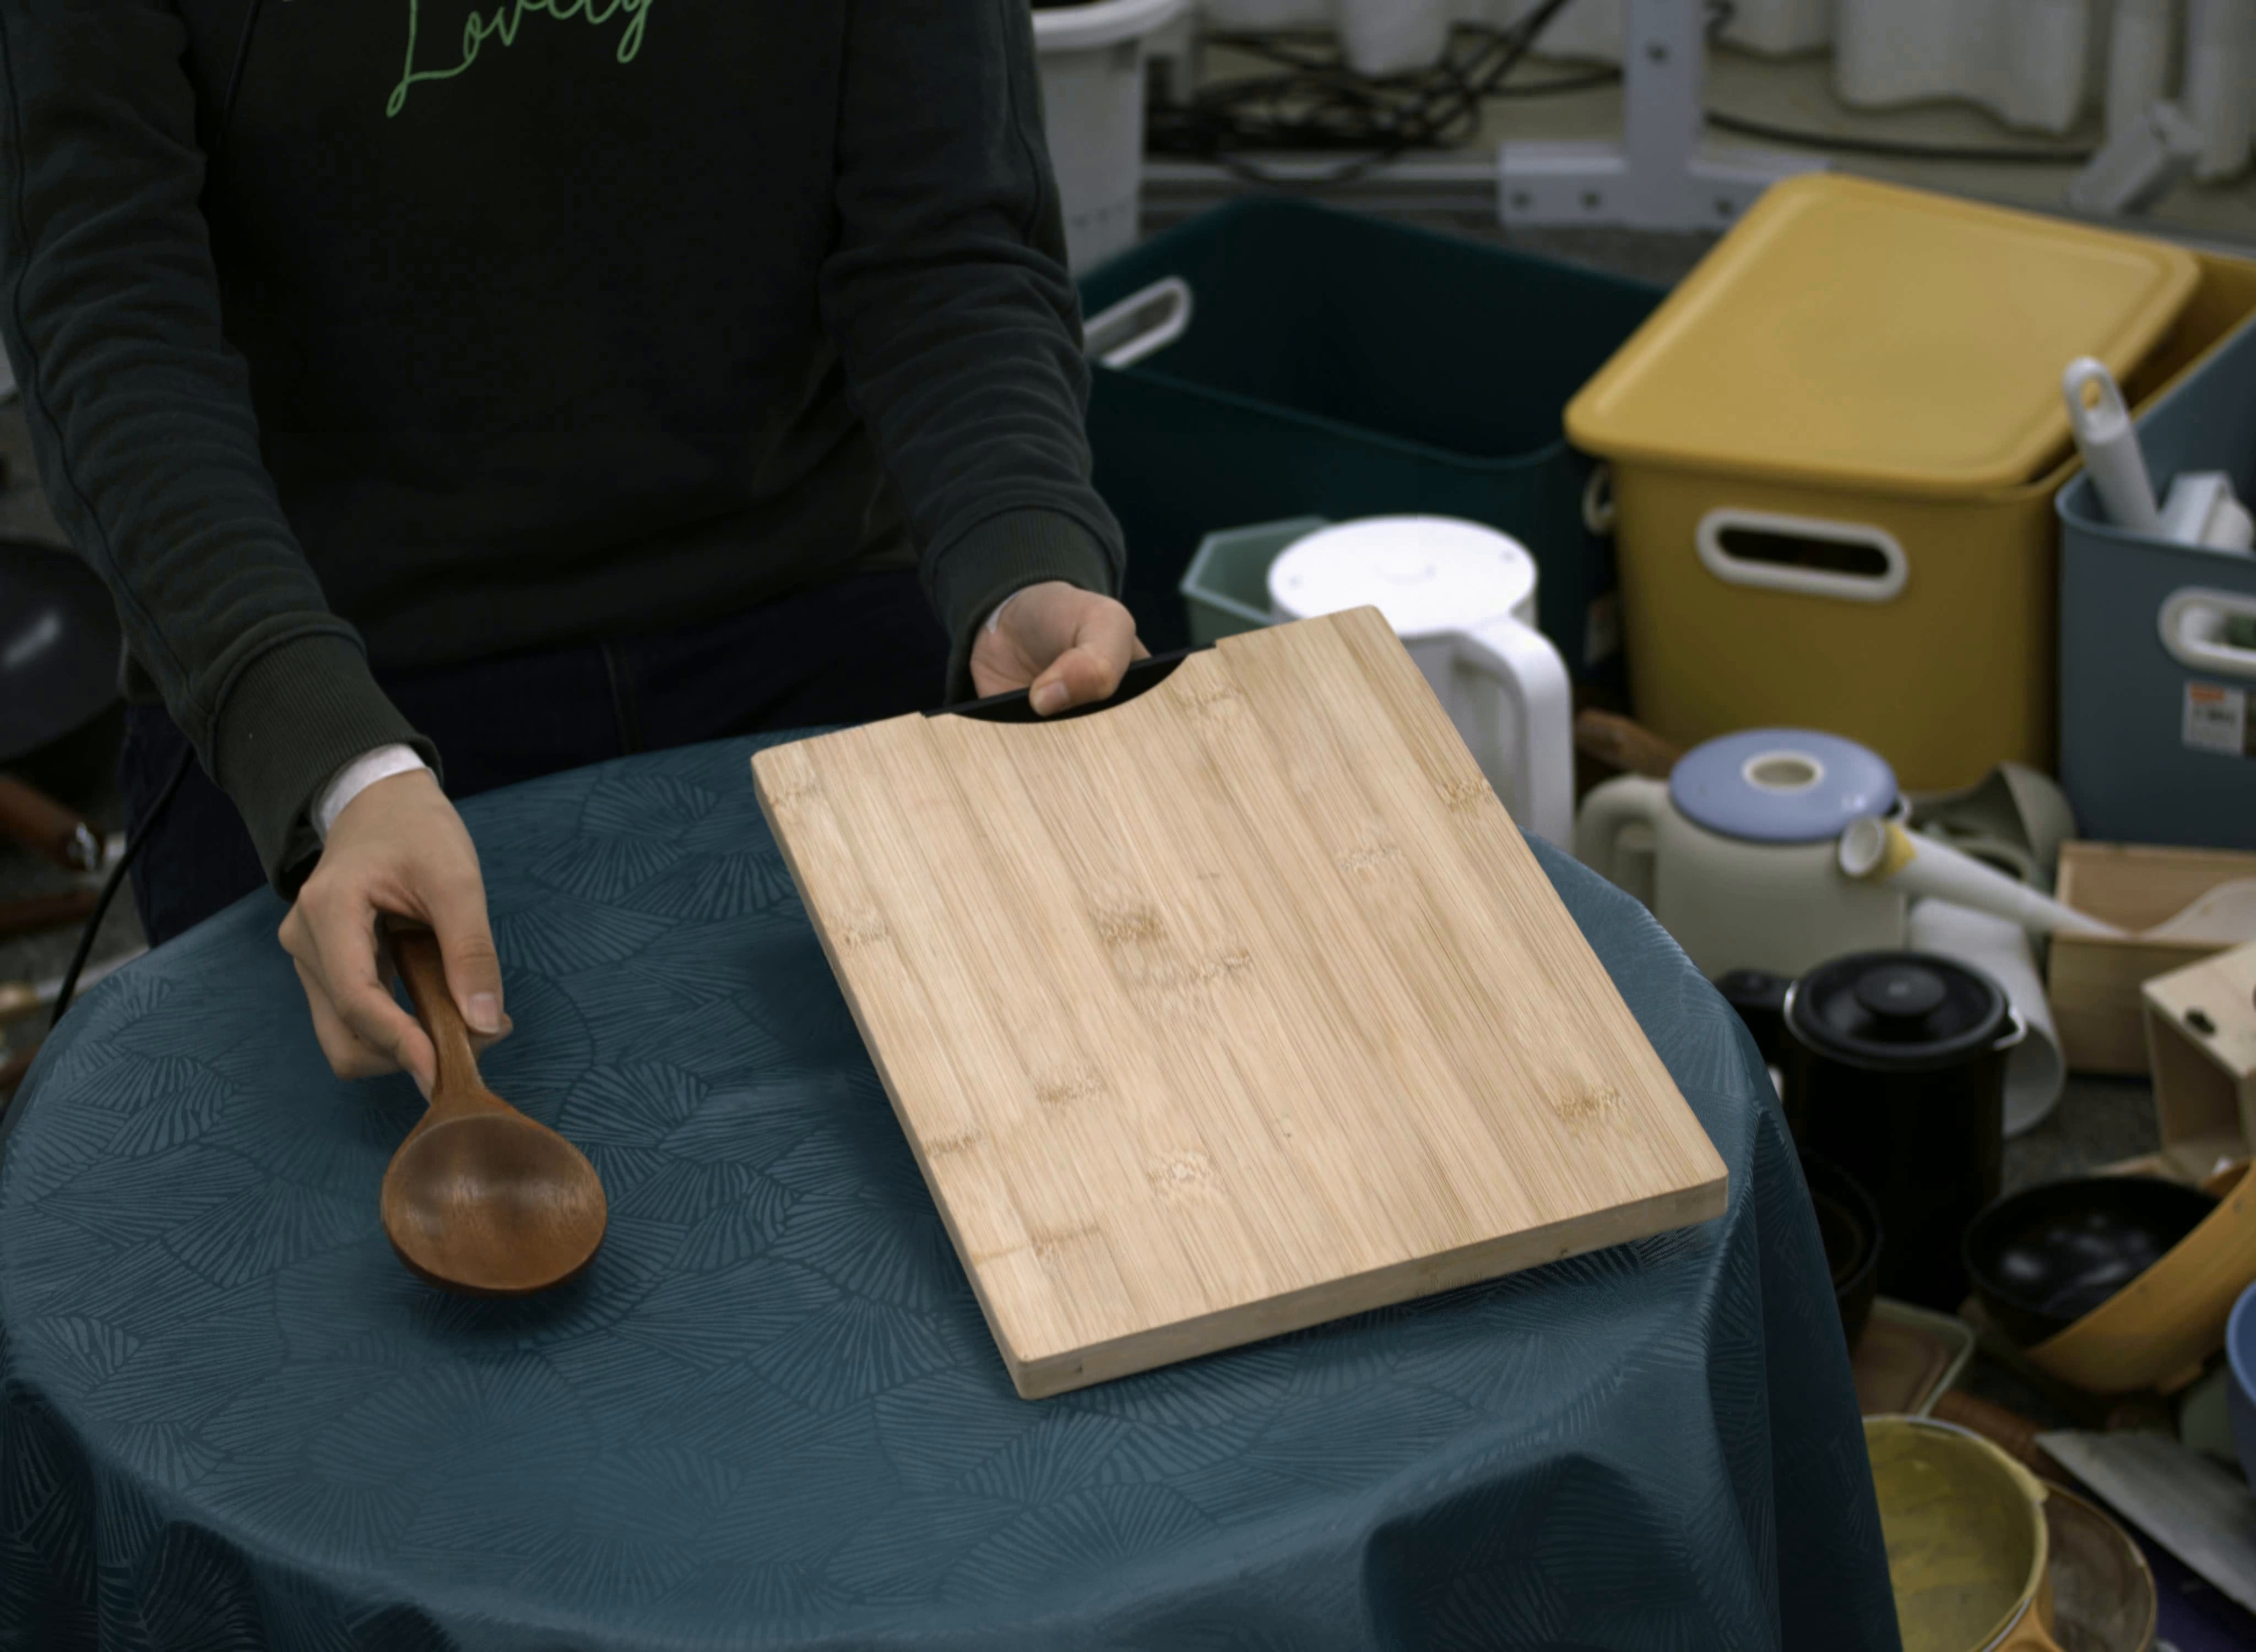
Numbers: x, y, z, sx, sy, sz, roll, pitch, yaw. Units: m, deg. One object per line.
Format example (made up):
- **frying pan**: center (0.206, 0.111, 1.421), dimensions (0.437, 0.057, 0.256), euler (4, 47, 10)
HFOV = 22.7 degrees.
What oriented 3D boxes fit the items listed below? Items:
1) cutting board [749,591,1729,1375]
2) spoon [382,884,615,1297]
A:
- **cutting board**: center (0.028, 0.046, 1.910), dimensions (0.251, 0.023, 0.353), euler (-13, 38, -13)
- **spoon**: center (-0.221, 0.089, 1.874), dimensions (0.075, 0.017, 0.219), euler (-6, 37, -14)
